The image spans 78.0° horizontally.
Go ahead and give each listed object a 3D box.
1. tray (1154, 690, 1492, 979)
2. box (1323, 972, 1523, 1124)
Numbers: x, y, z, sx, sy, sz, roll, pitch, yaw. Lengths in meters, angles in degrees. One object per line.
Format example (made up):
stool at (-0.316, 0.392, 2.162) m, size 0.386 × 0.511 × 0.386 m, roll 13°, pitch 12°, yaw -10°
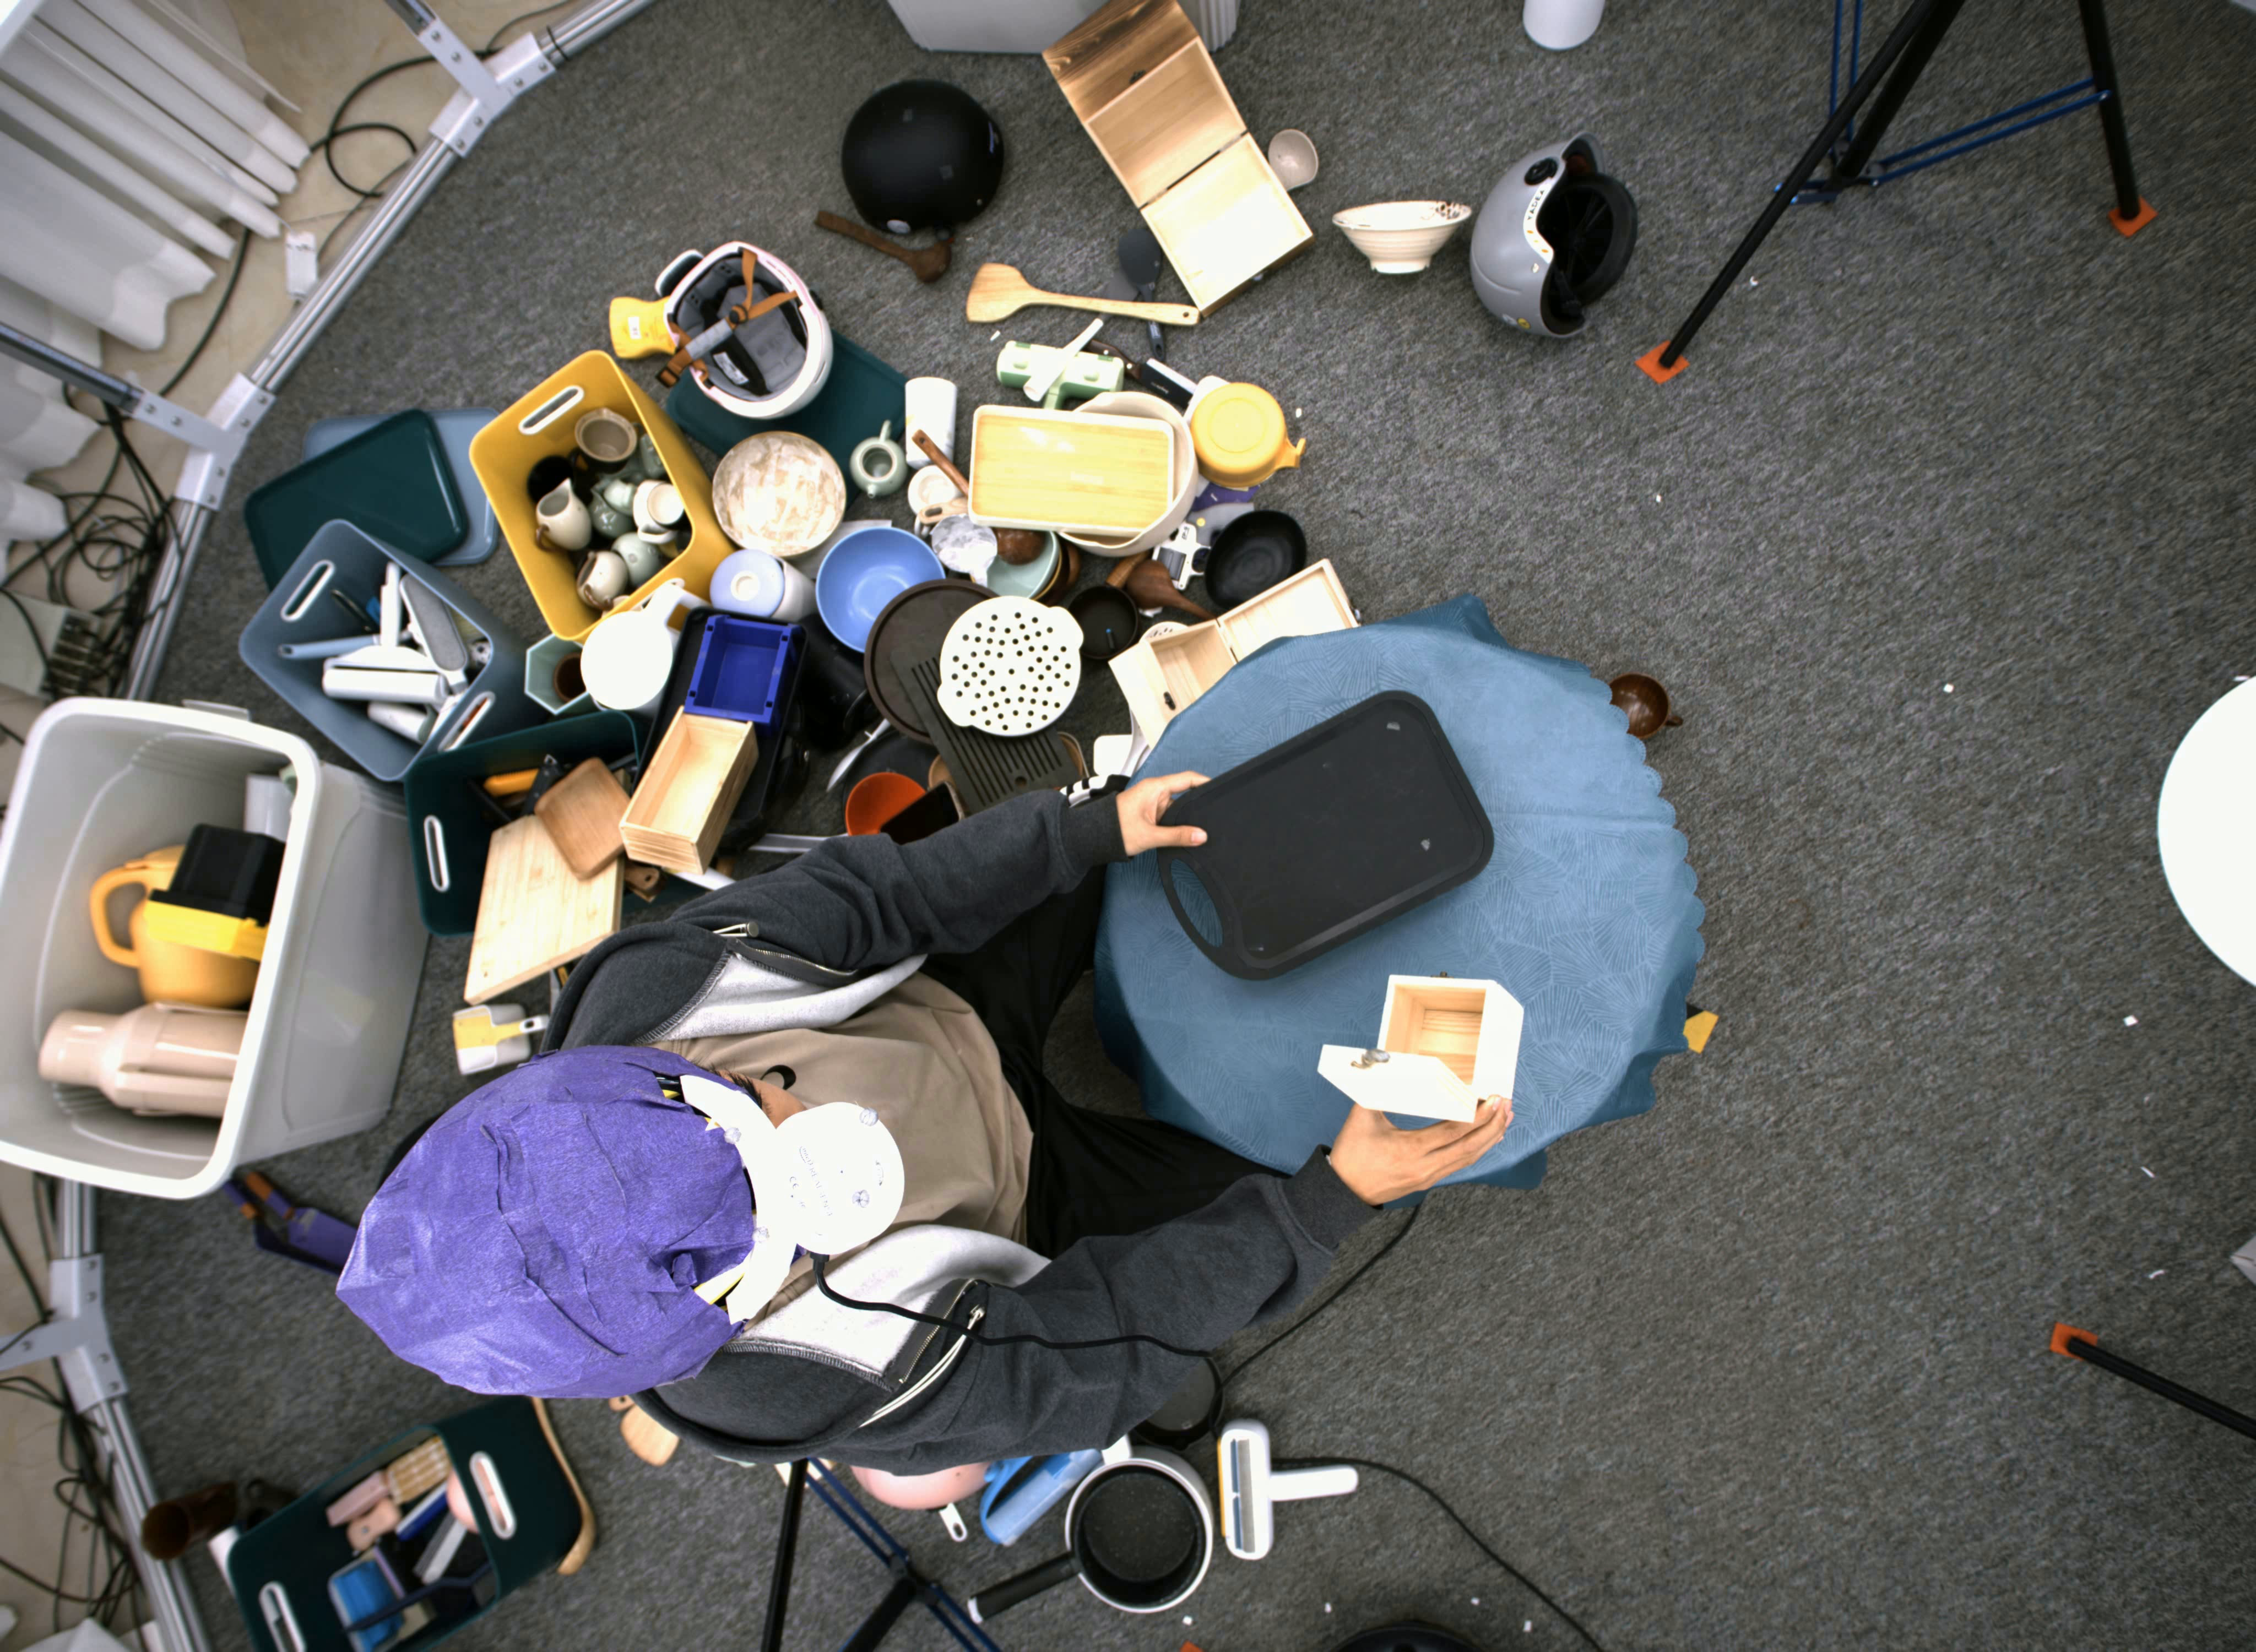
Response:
tray at (0.190, 0.014, 1.390) m, size 0.327 × 0.010 × 0.211 m, roll -27°, pitch 93°, yaw 8°
box at (0.260, 0.183, 1.198) m, size 0.103 × 0.186 × 0.132 m, roll 2°, pitch 70°, yaw 33°
